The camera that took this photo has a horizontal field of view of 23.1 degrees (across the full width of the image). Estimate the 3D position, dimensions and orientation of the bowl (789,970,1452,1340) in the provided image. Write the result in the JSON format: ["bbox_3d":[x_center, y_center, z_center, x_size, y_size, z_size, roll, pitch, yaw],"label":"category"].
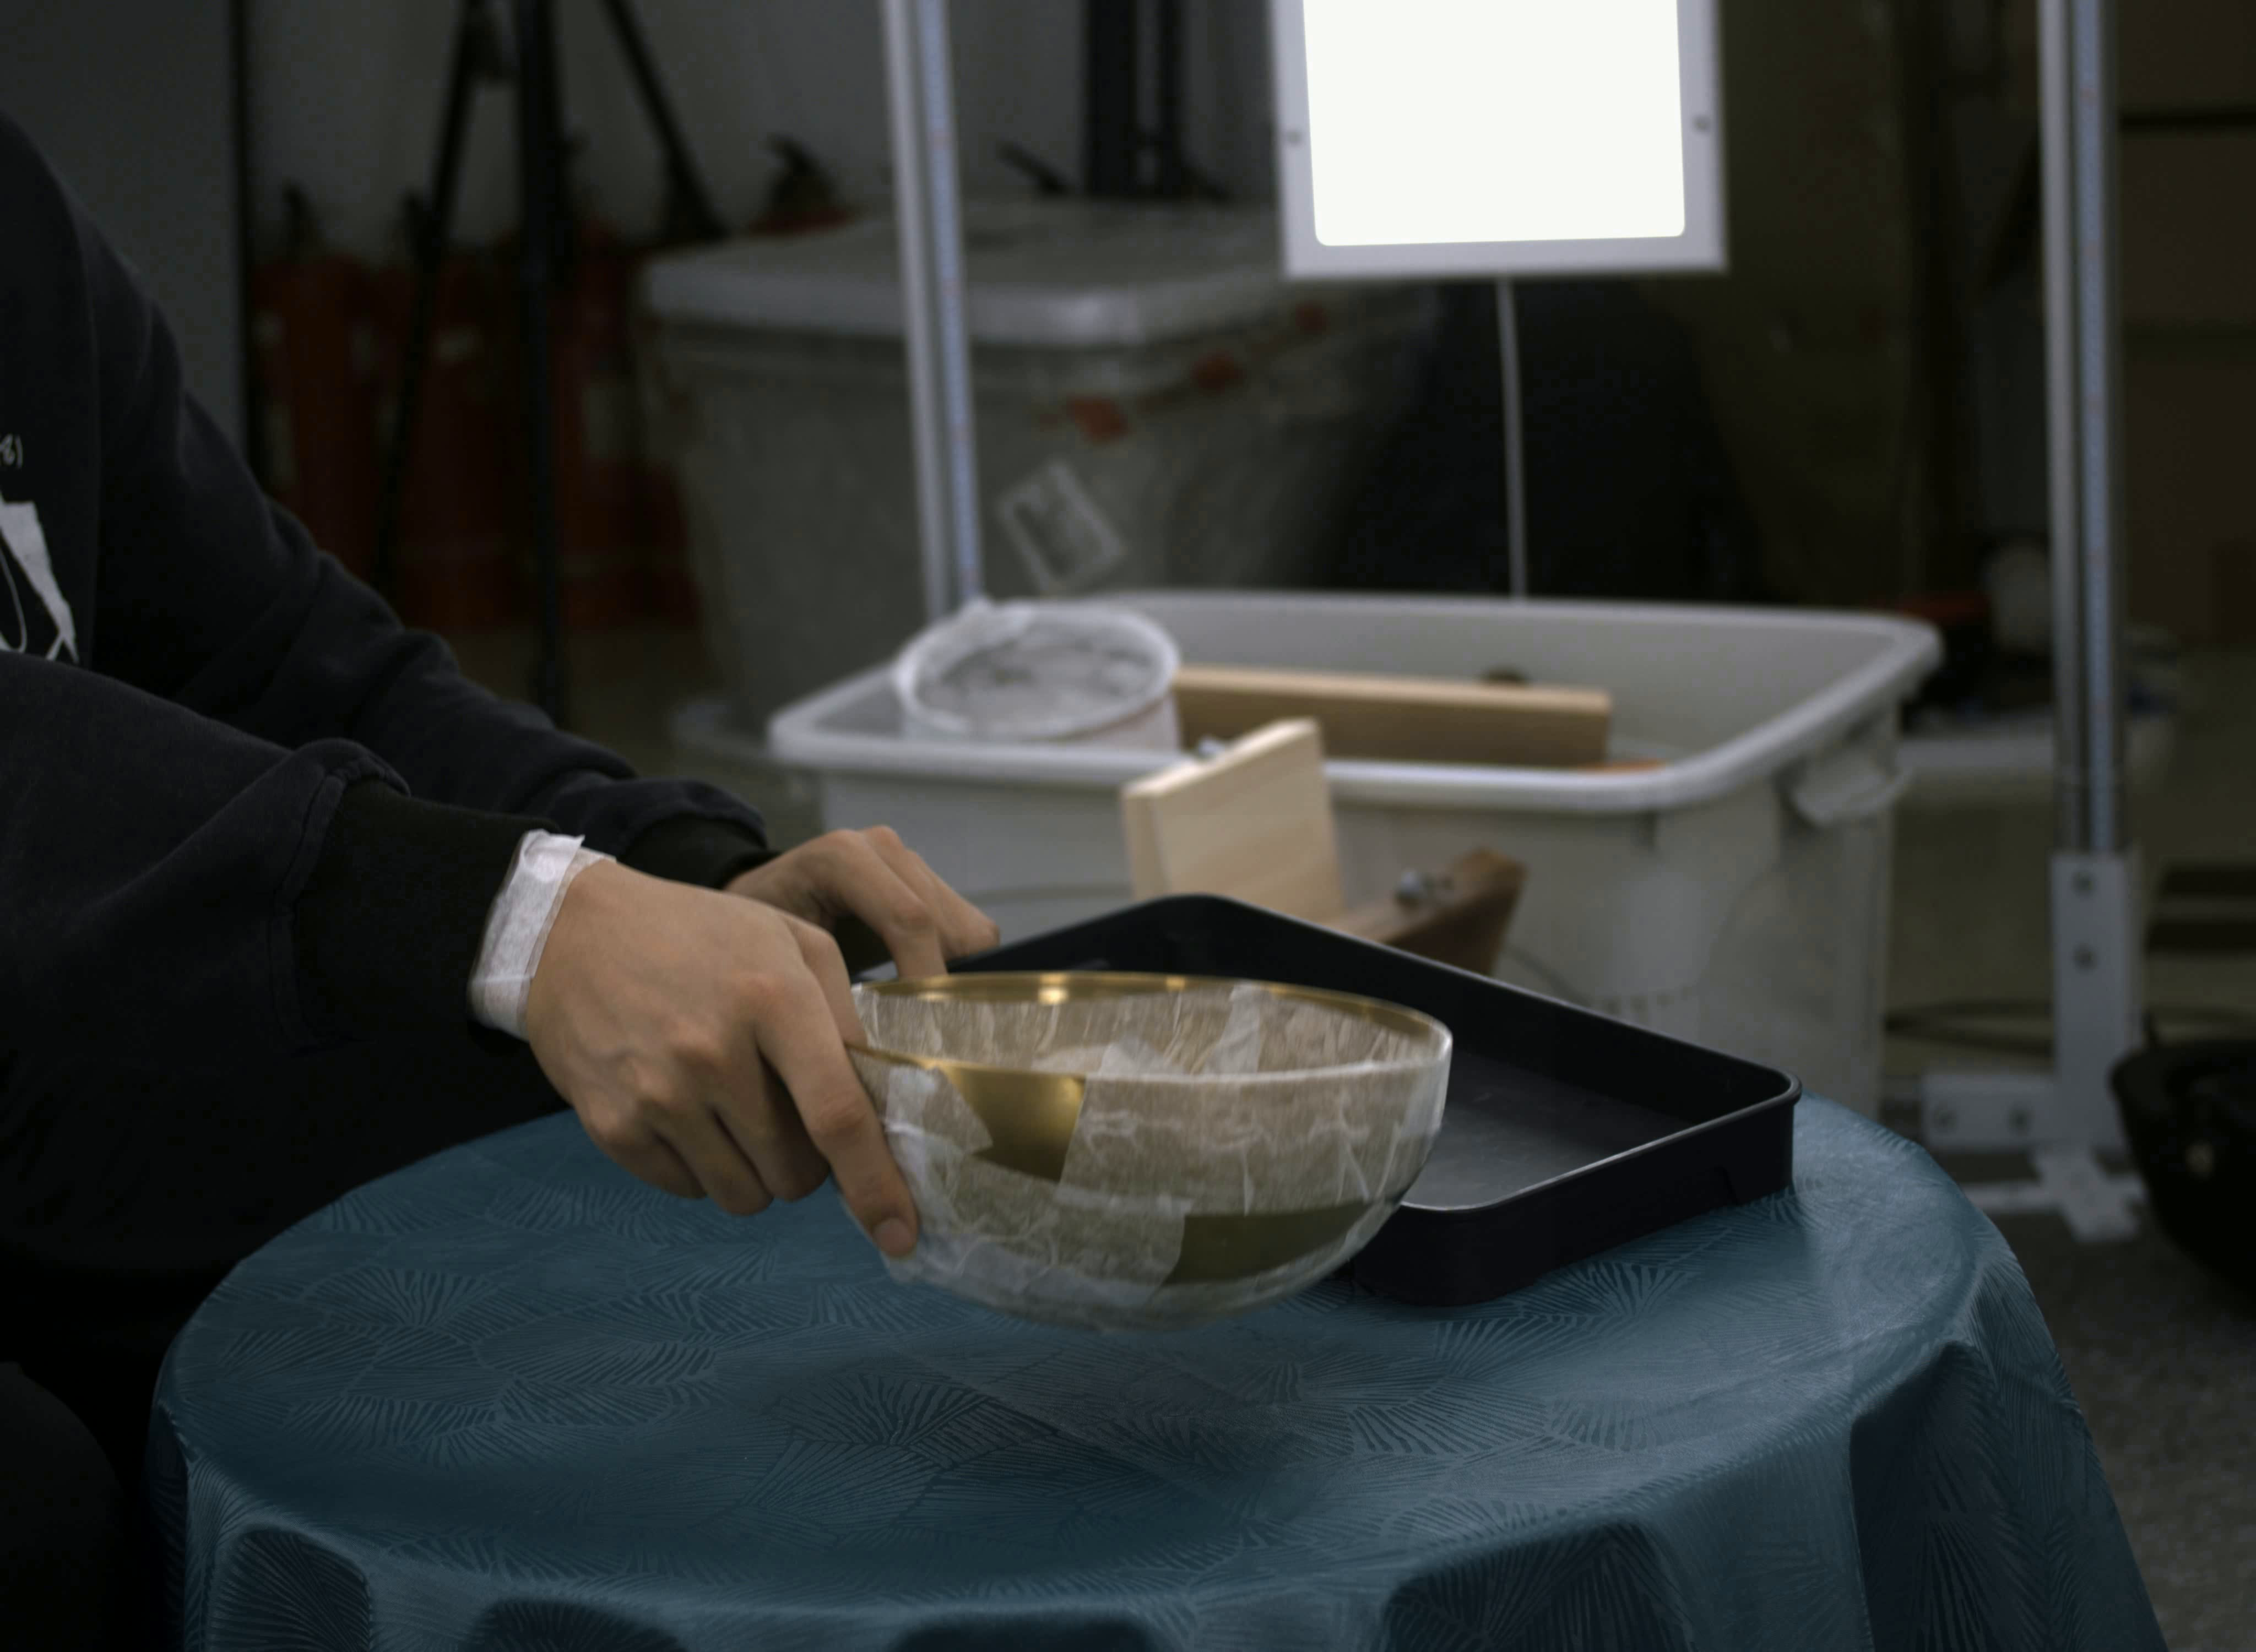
[{"bbox_3d":[-0.005,0.104,1.673,0.214,0.095,0.214,1,8,-2],"label":"bowl"}]

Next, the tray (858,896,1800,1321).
[{"bbox_3d":[0.064,0.093,1.906,0.179,0.037,0.324,-14,22,-37],"label":"tray"}]
